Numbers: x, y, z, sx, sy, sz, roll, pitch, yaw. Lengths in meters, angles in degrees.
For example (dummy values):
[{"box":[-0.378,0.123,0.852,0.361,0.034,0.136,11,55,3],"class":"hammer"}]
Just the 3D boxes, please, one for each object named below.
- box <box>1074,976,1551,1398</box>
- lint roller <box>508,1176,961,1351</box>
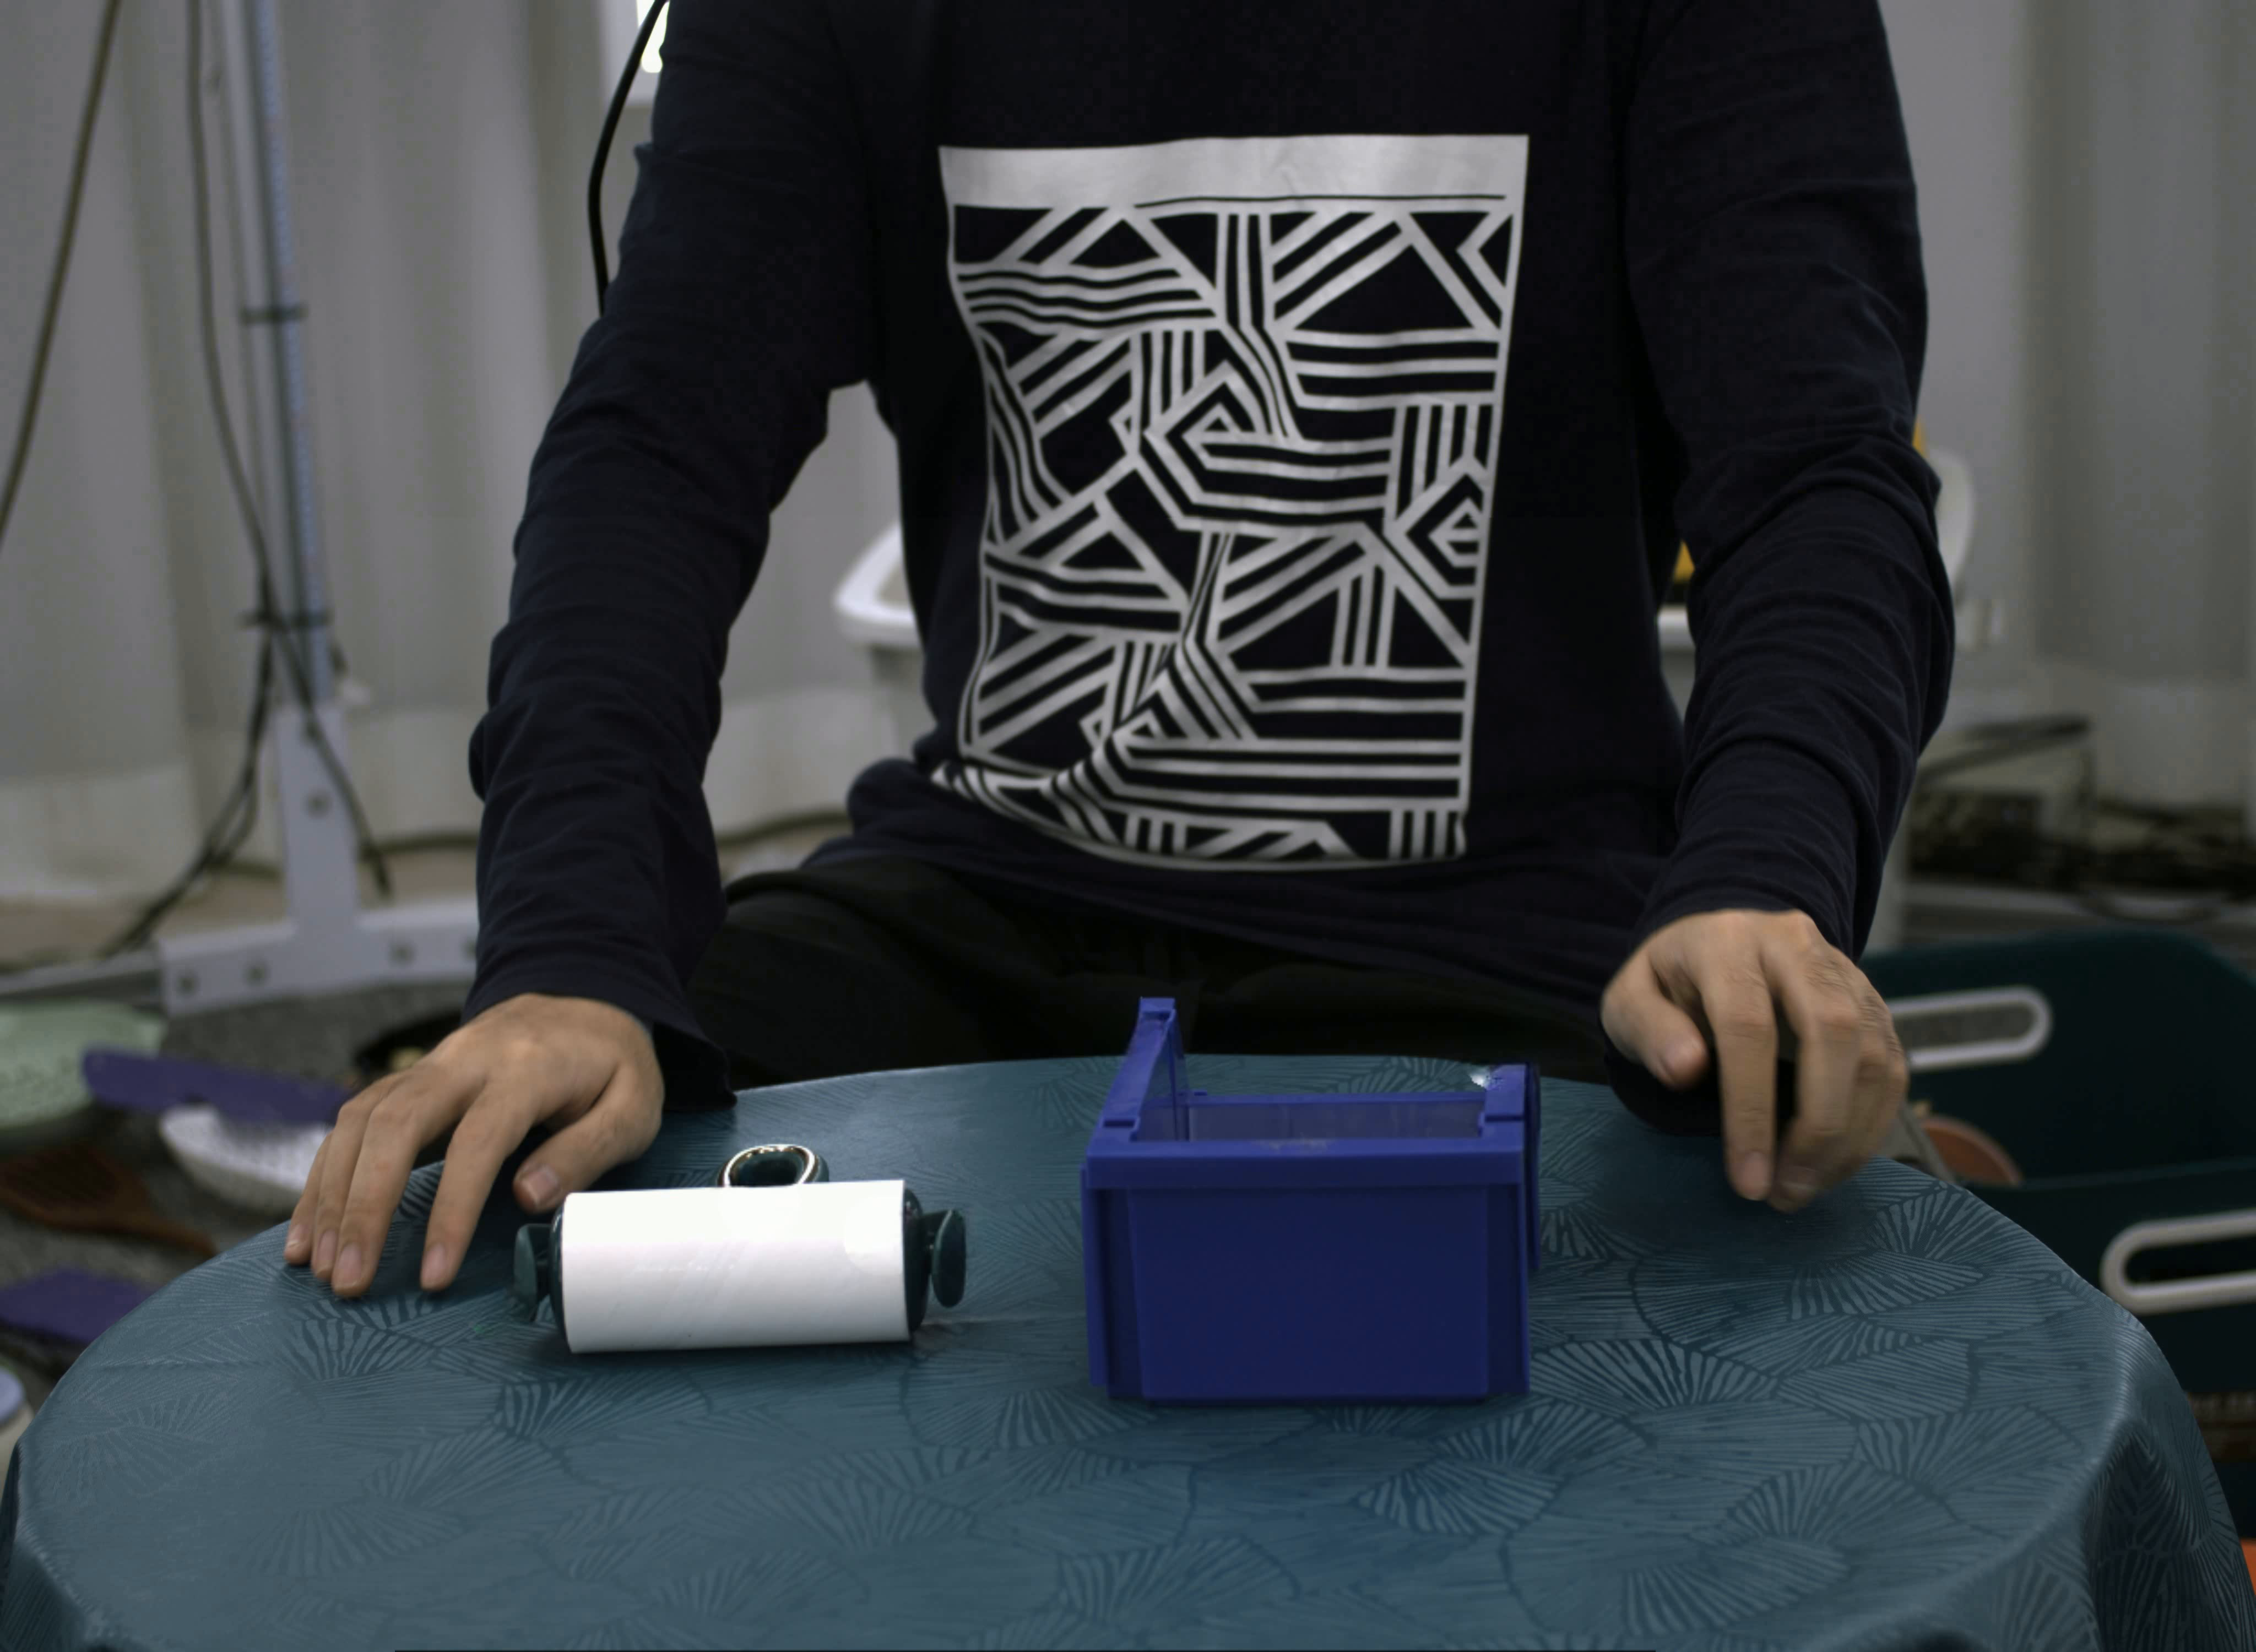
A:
[{"box":[0.056,0.101,1.600,0.124,0.081,0.180,-2,17,8],"class":"box"},{"box":[-0.114,0.116,1.660,0.134,0.048,0.181,-3,10,1],"class":"lint roller"}]
